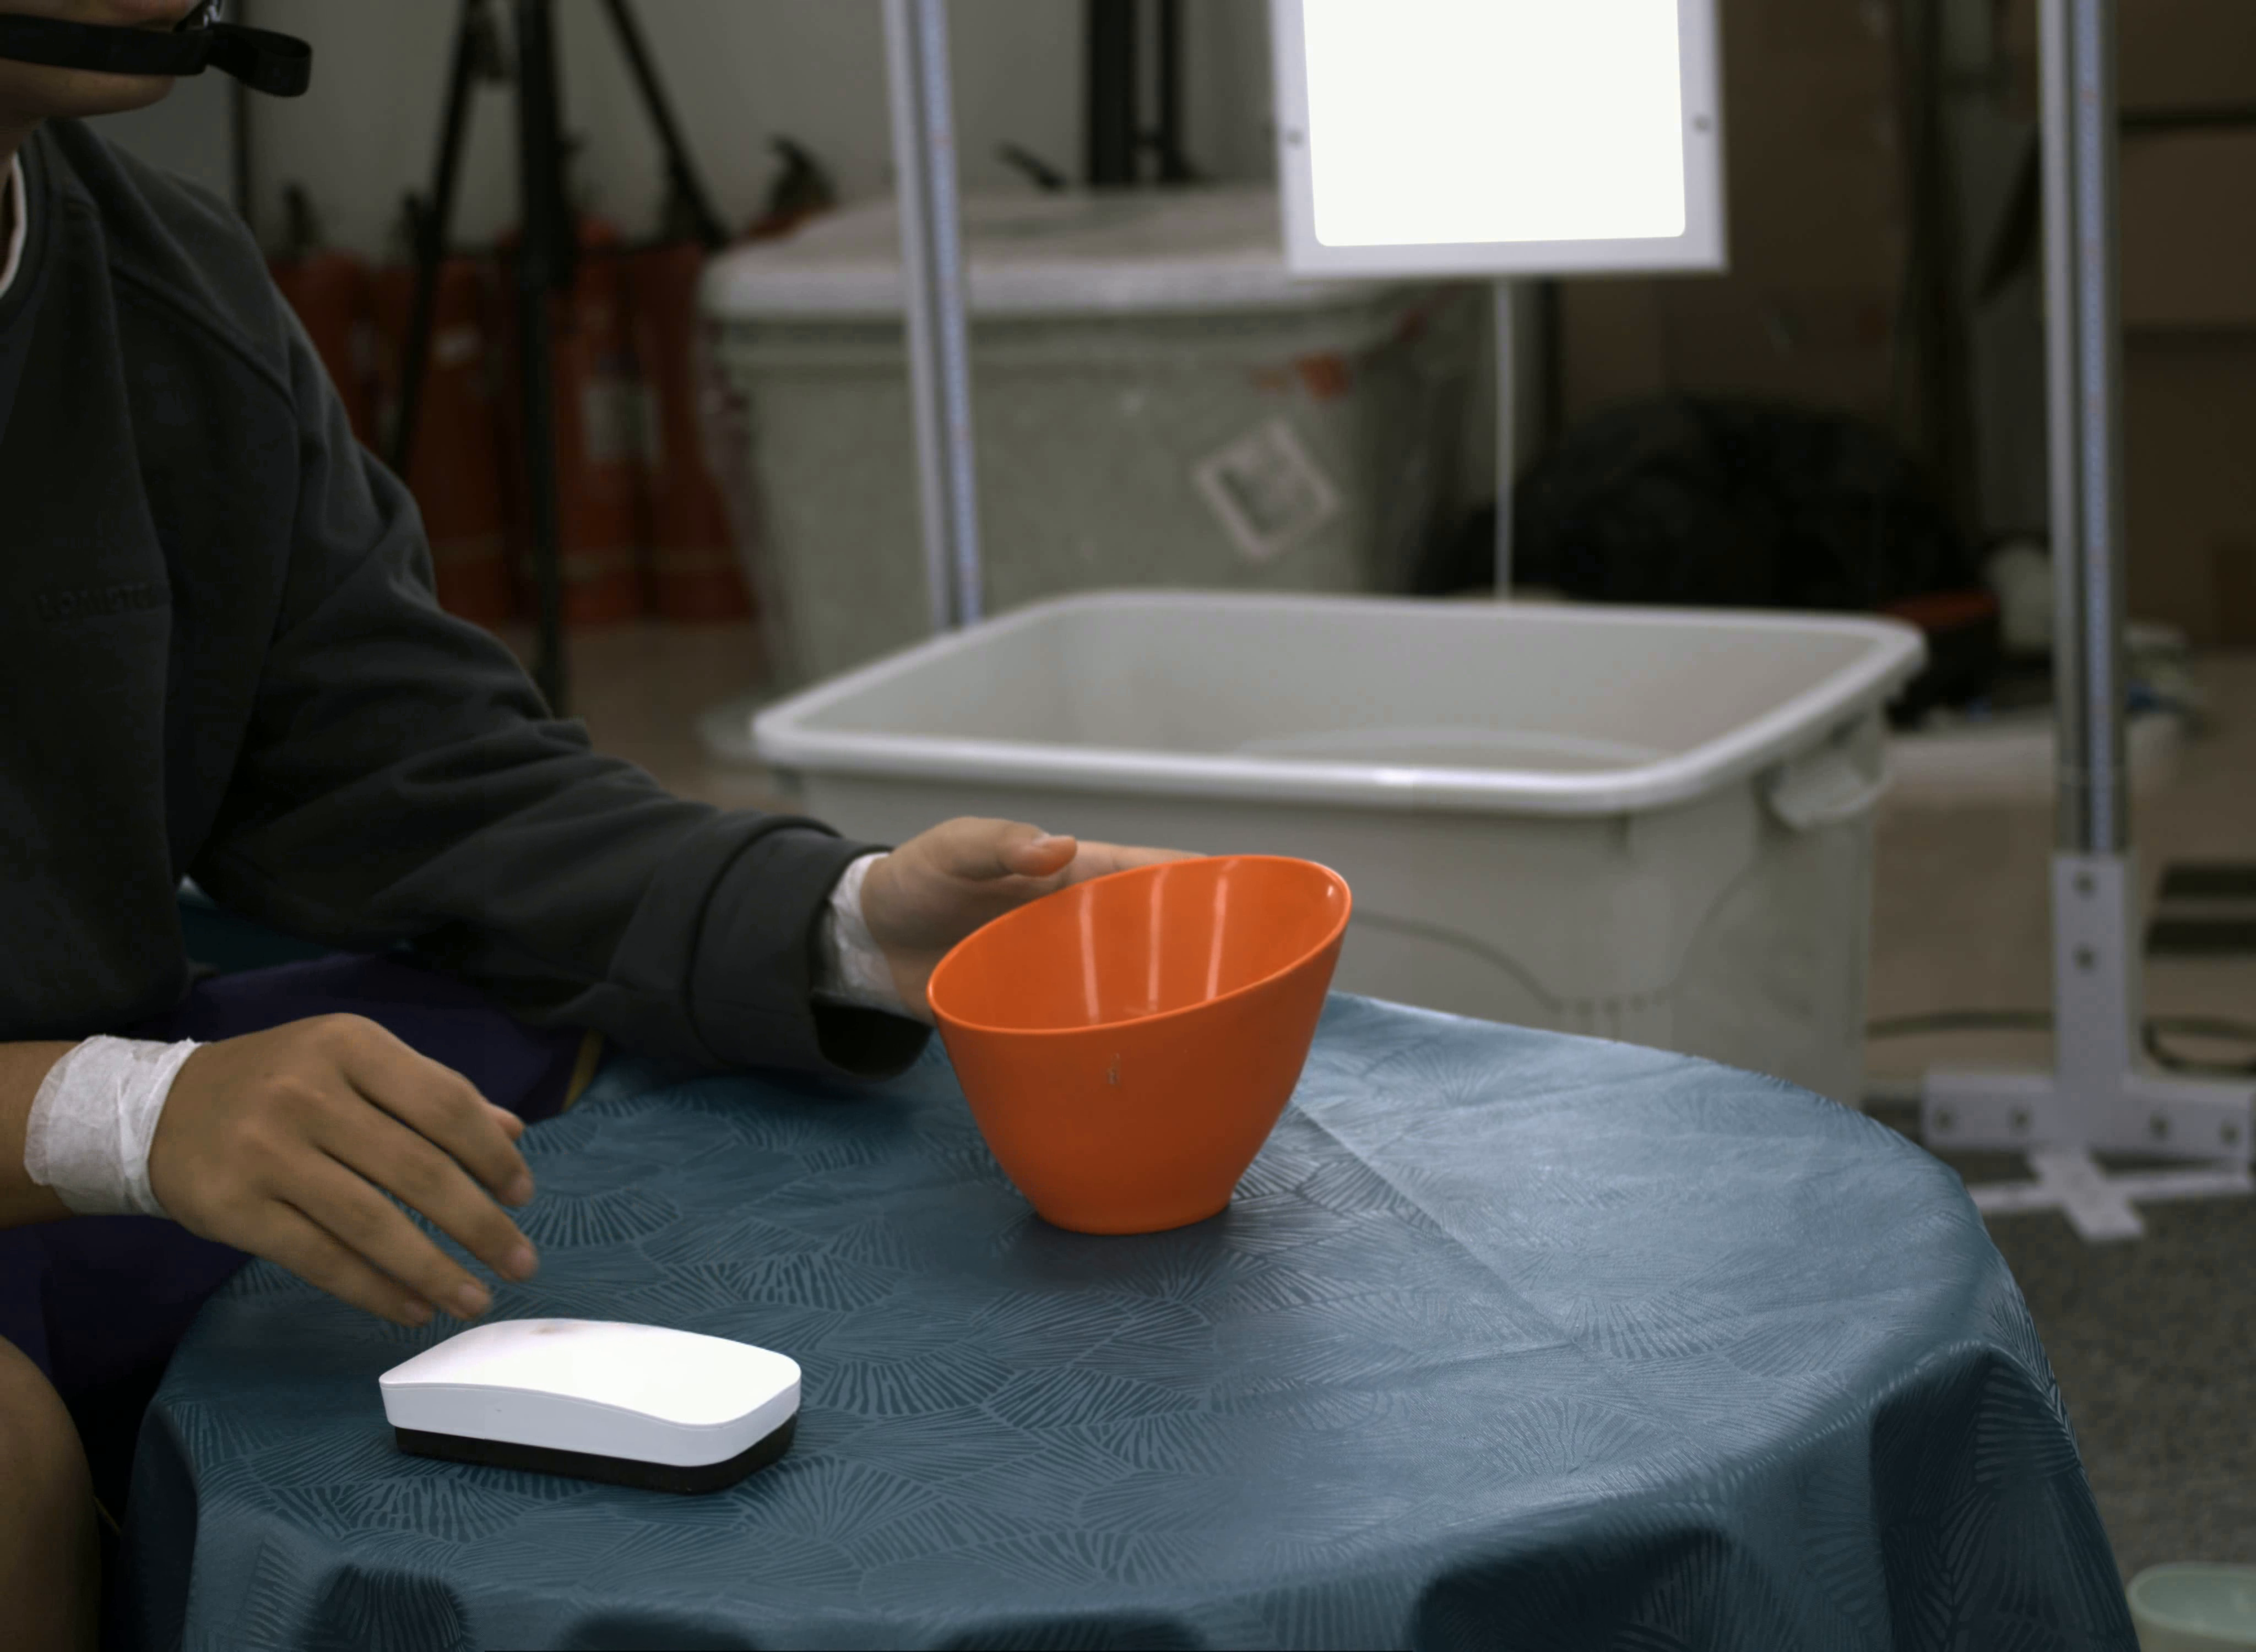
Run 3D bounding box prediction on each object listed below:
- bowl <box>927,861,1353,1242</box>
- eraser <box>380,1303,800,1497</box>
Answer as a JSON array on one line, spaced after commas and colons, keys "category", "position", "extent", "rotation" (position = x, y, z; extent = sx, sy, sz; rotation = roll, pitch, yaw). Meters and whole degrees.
[{"category": "bowl", "position": [0.008, 0.080, 1.875], "extent": [0.147, 0.105, 0.148], "rotation": [-6, 14, 0]}, {"category": "eraser", "position": [-0.164, 0.174, 1.694], "extent": [0.134, 0.034, 0.062], "rotation": [6, 17, 33]}]
